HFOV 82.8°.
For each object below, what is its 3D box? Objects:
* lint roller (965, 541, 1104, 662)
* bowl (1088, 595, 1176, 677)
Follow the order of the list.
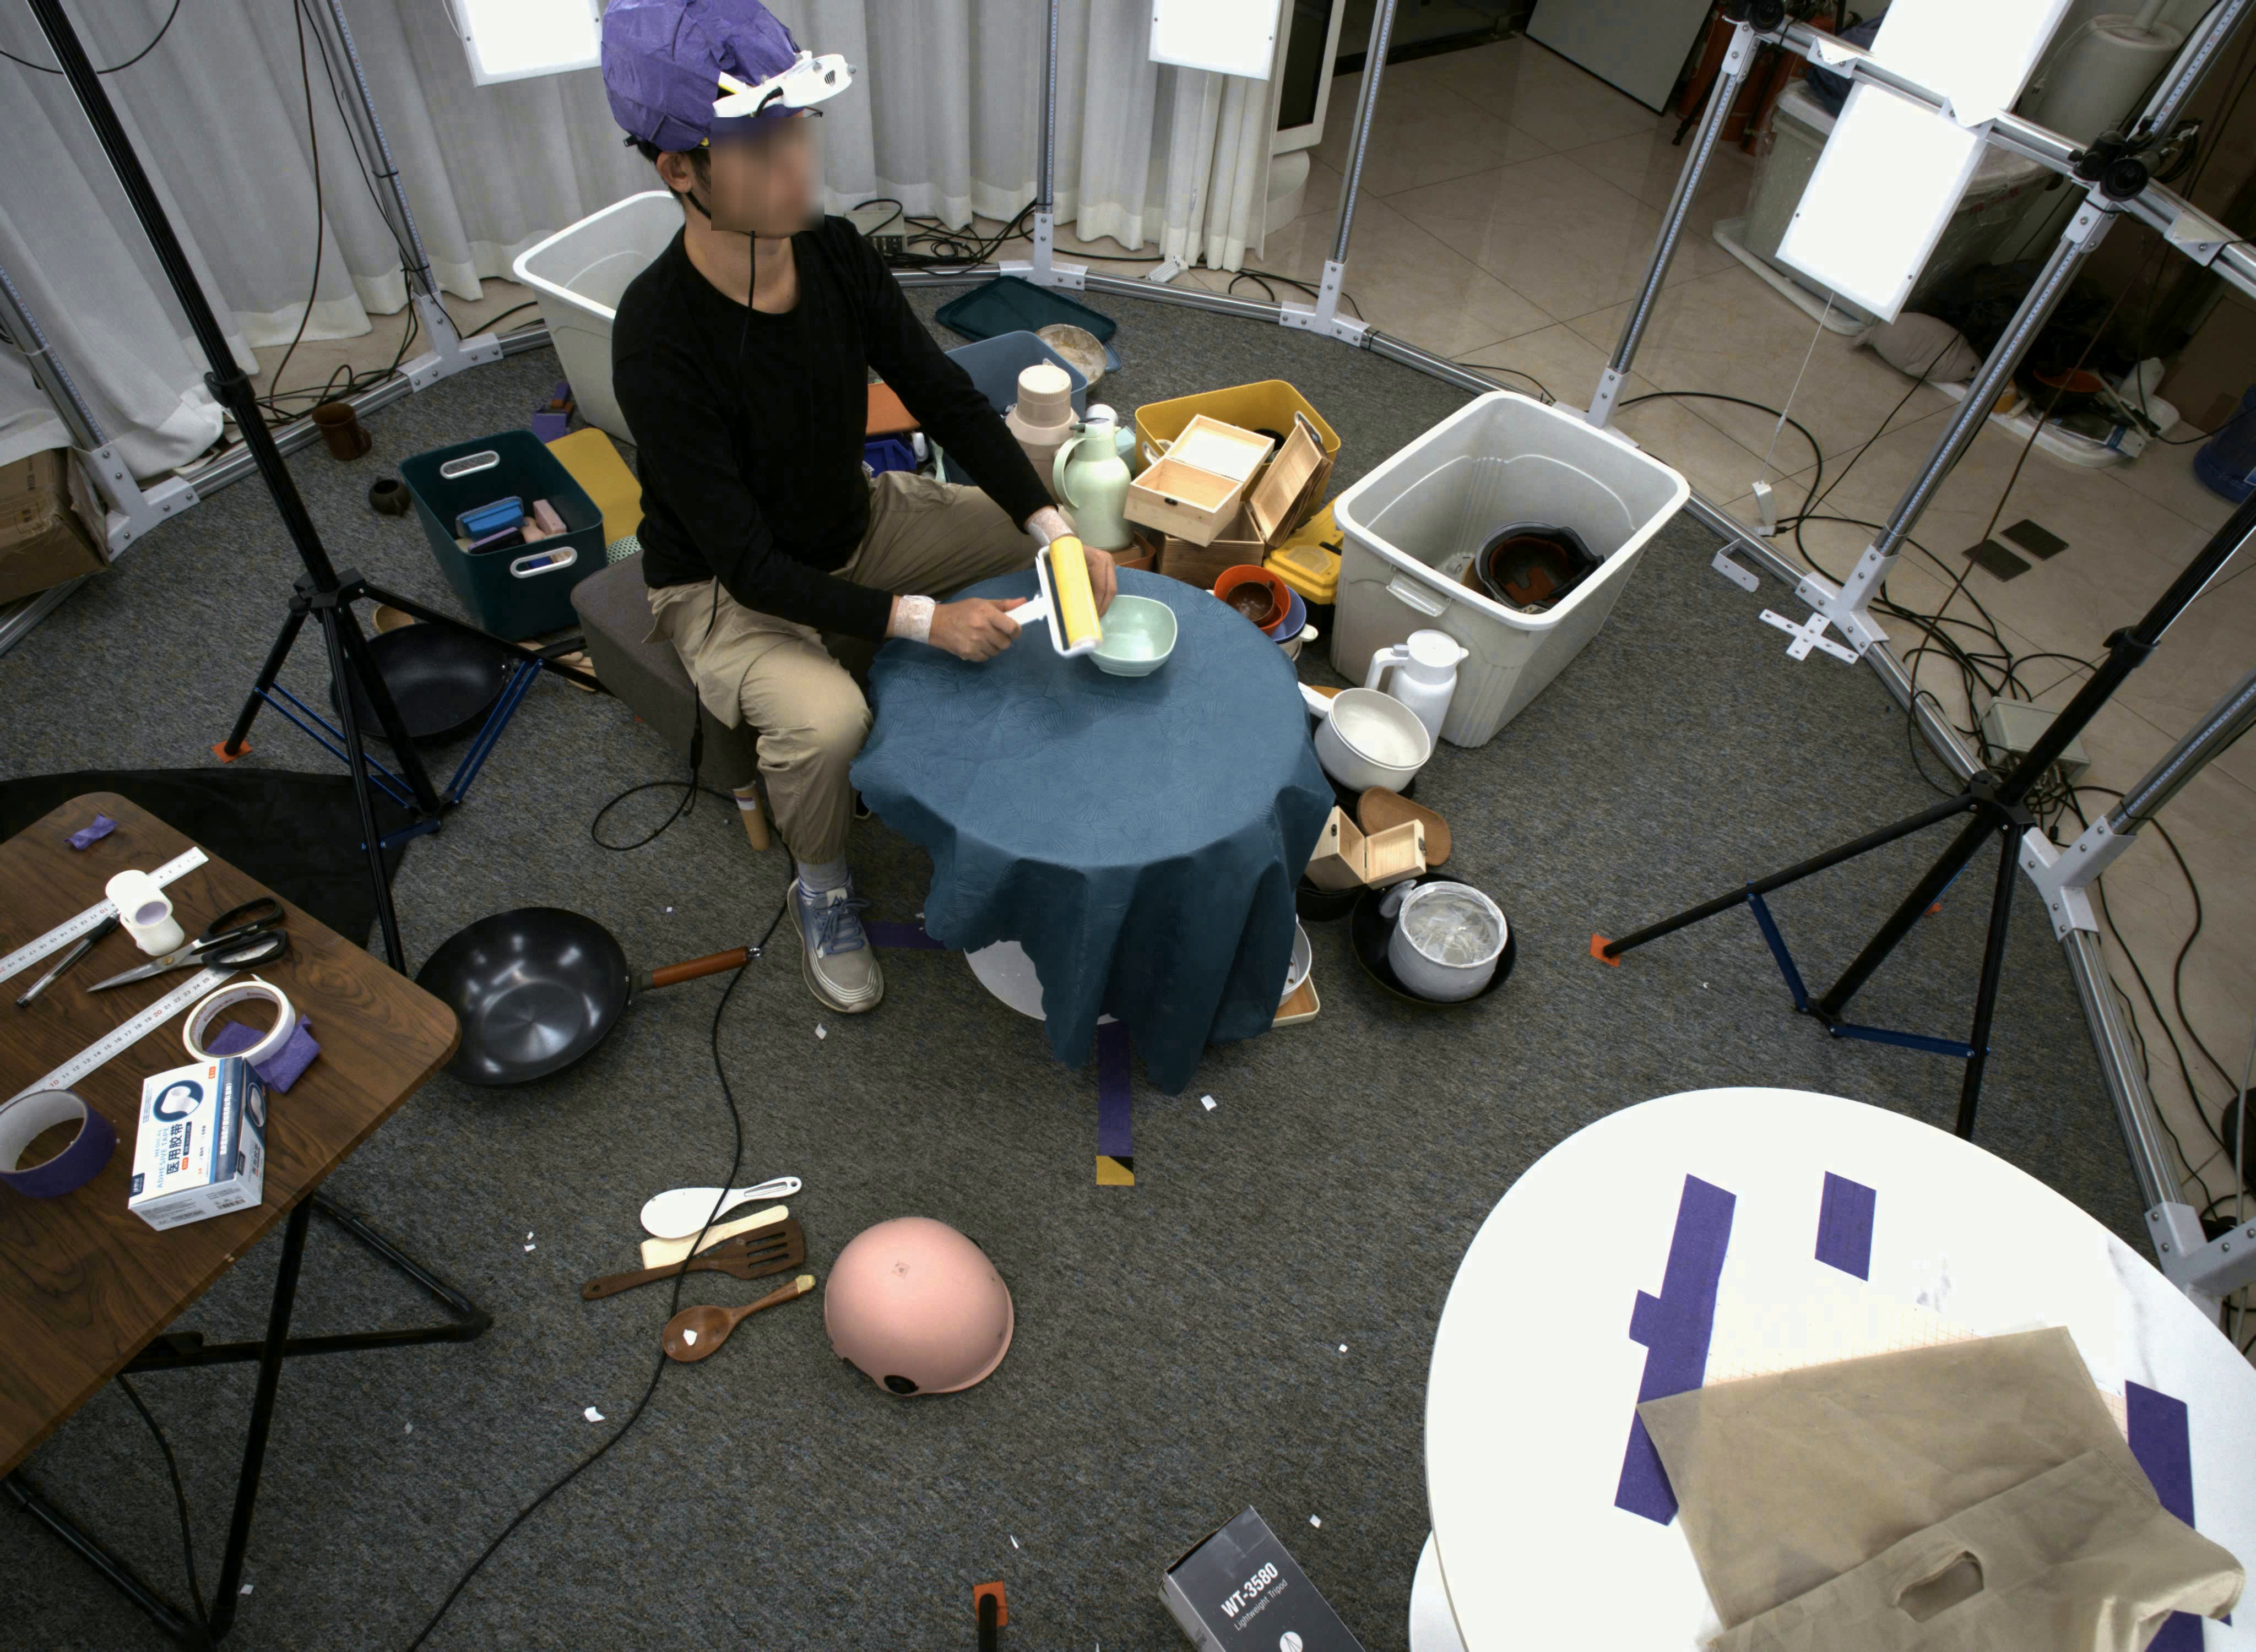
[{"bbox_3d":[-0.140,-0.295,1.791,0.192,0.050,0.177,-14,69,6],"label":"lint roller"},{"bbox_3d":[-0.002,-0.267,1.864,0.151,0.057,0.155,3,50,-4],"label":"bowl"}]
